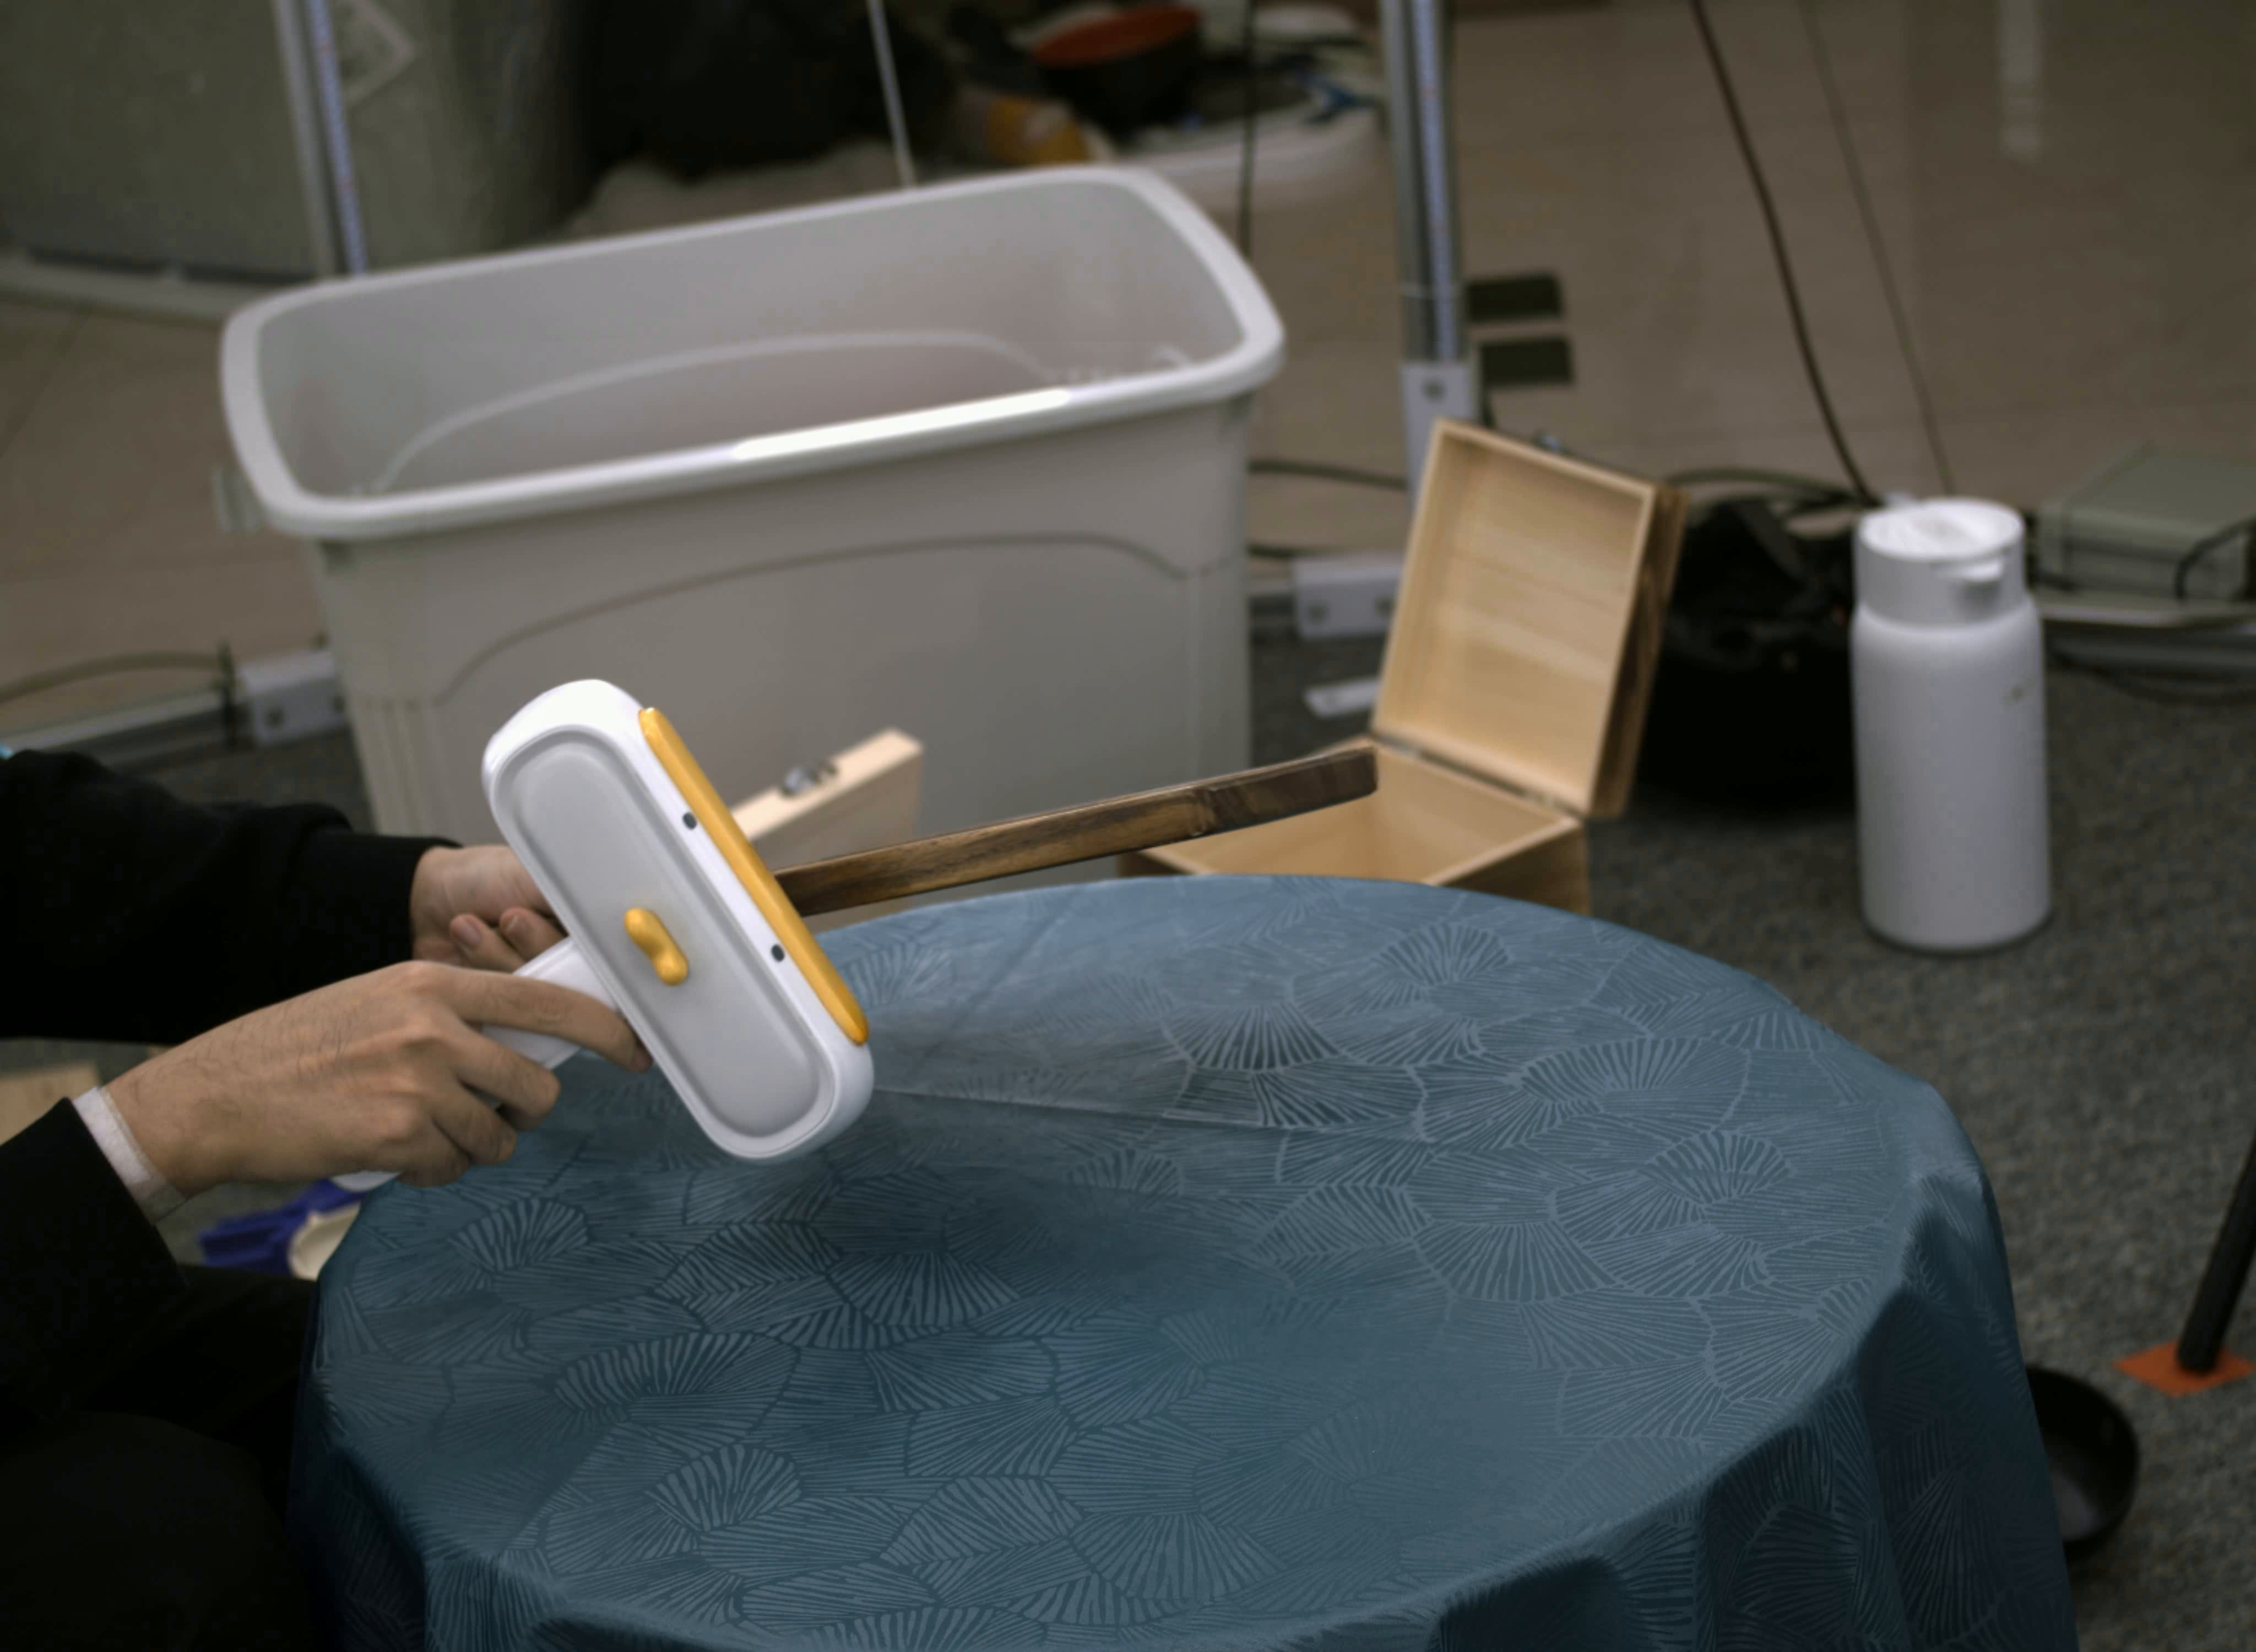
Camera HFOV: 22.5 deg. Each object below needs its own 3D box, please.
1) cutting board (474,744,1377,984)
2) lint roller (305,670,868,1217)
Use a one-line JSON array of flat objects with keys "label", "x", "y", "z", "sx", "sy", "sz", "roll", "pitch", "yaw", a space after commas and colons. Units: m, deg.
[{"label": "cutting board", "x": -0.094, "y": 0.018, "z": 2.178, "sx": 0.352, "sy": 0.023, "sz": 0.200, "roll": -12, "pitch": 1, "yaw": 21}, {"label": "lint roller", "x": -0.214, "y": 0.068, "z": 2.040, "sx": 0.193, "sy": 0.194, "sz": 0.073, "roll": -37, "pitch": 14, "yaw": 6}]
